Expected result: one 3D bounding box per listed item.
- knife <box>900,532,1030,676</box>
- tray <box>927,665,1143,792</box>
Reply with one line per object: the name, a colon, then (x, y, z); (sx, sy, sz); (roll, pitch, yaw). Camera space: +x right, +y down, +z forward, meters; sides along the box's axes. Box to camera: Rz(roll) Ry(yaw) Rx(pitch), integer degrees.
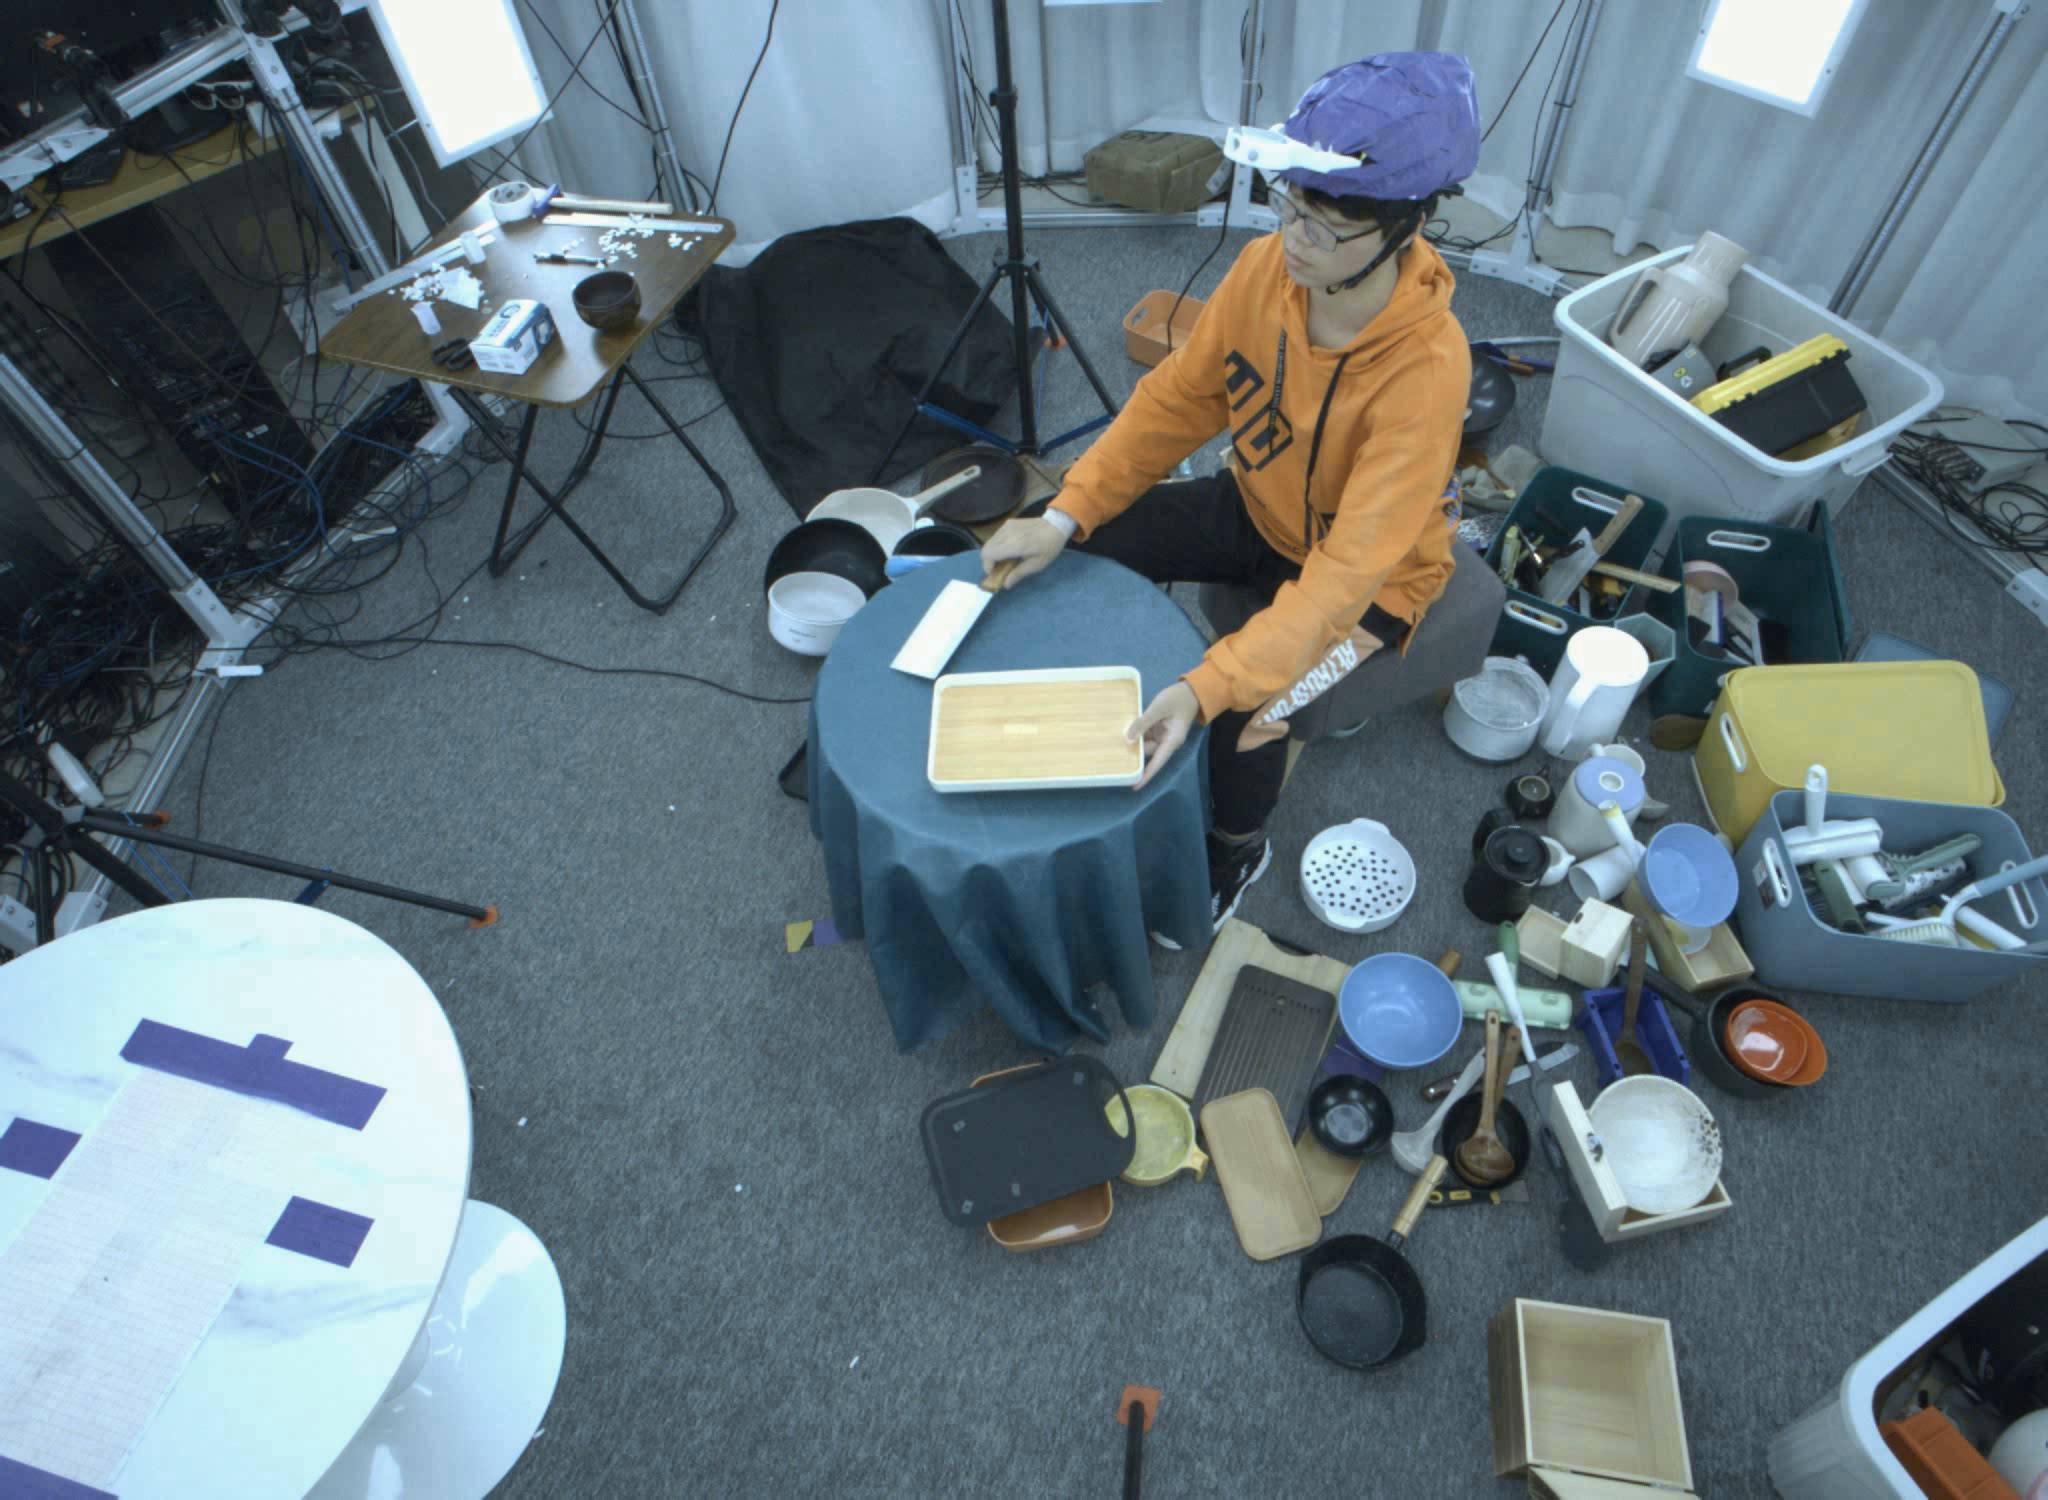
knife: (-0.096, -0.236, 1.923); (0.091, 0.021, 0.306); (17, 61, 29)
tray: (0.017, -0.032, 1.744); (0.299, 0.028, 0.190); (-2, 58, 4)
